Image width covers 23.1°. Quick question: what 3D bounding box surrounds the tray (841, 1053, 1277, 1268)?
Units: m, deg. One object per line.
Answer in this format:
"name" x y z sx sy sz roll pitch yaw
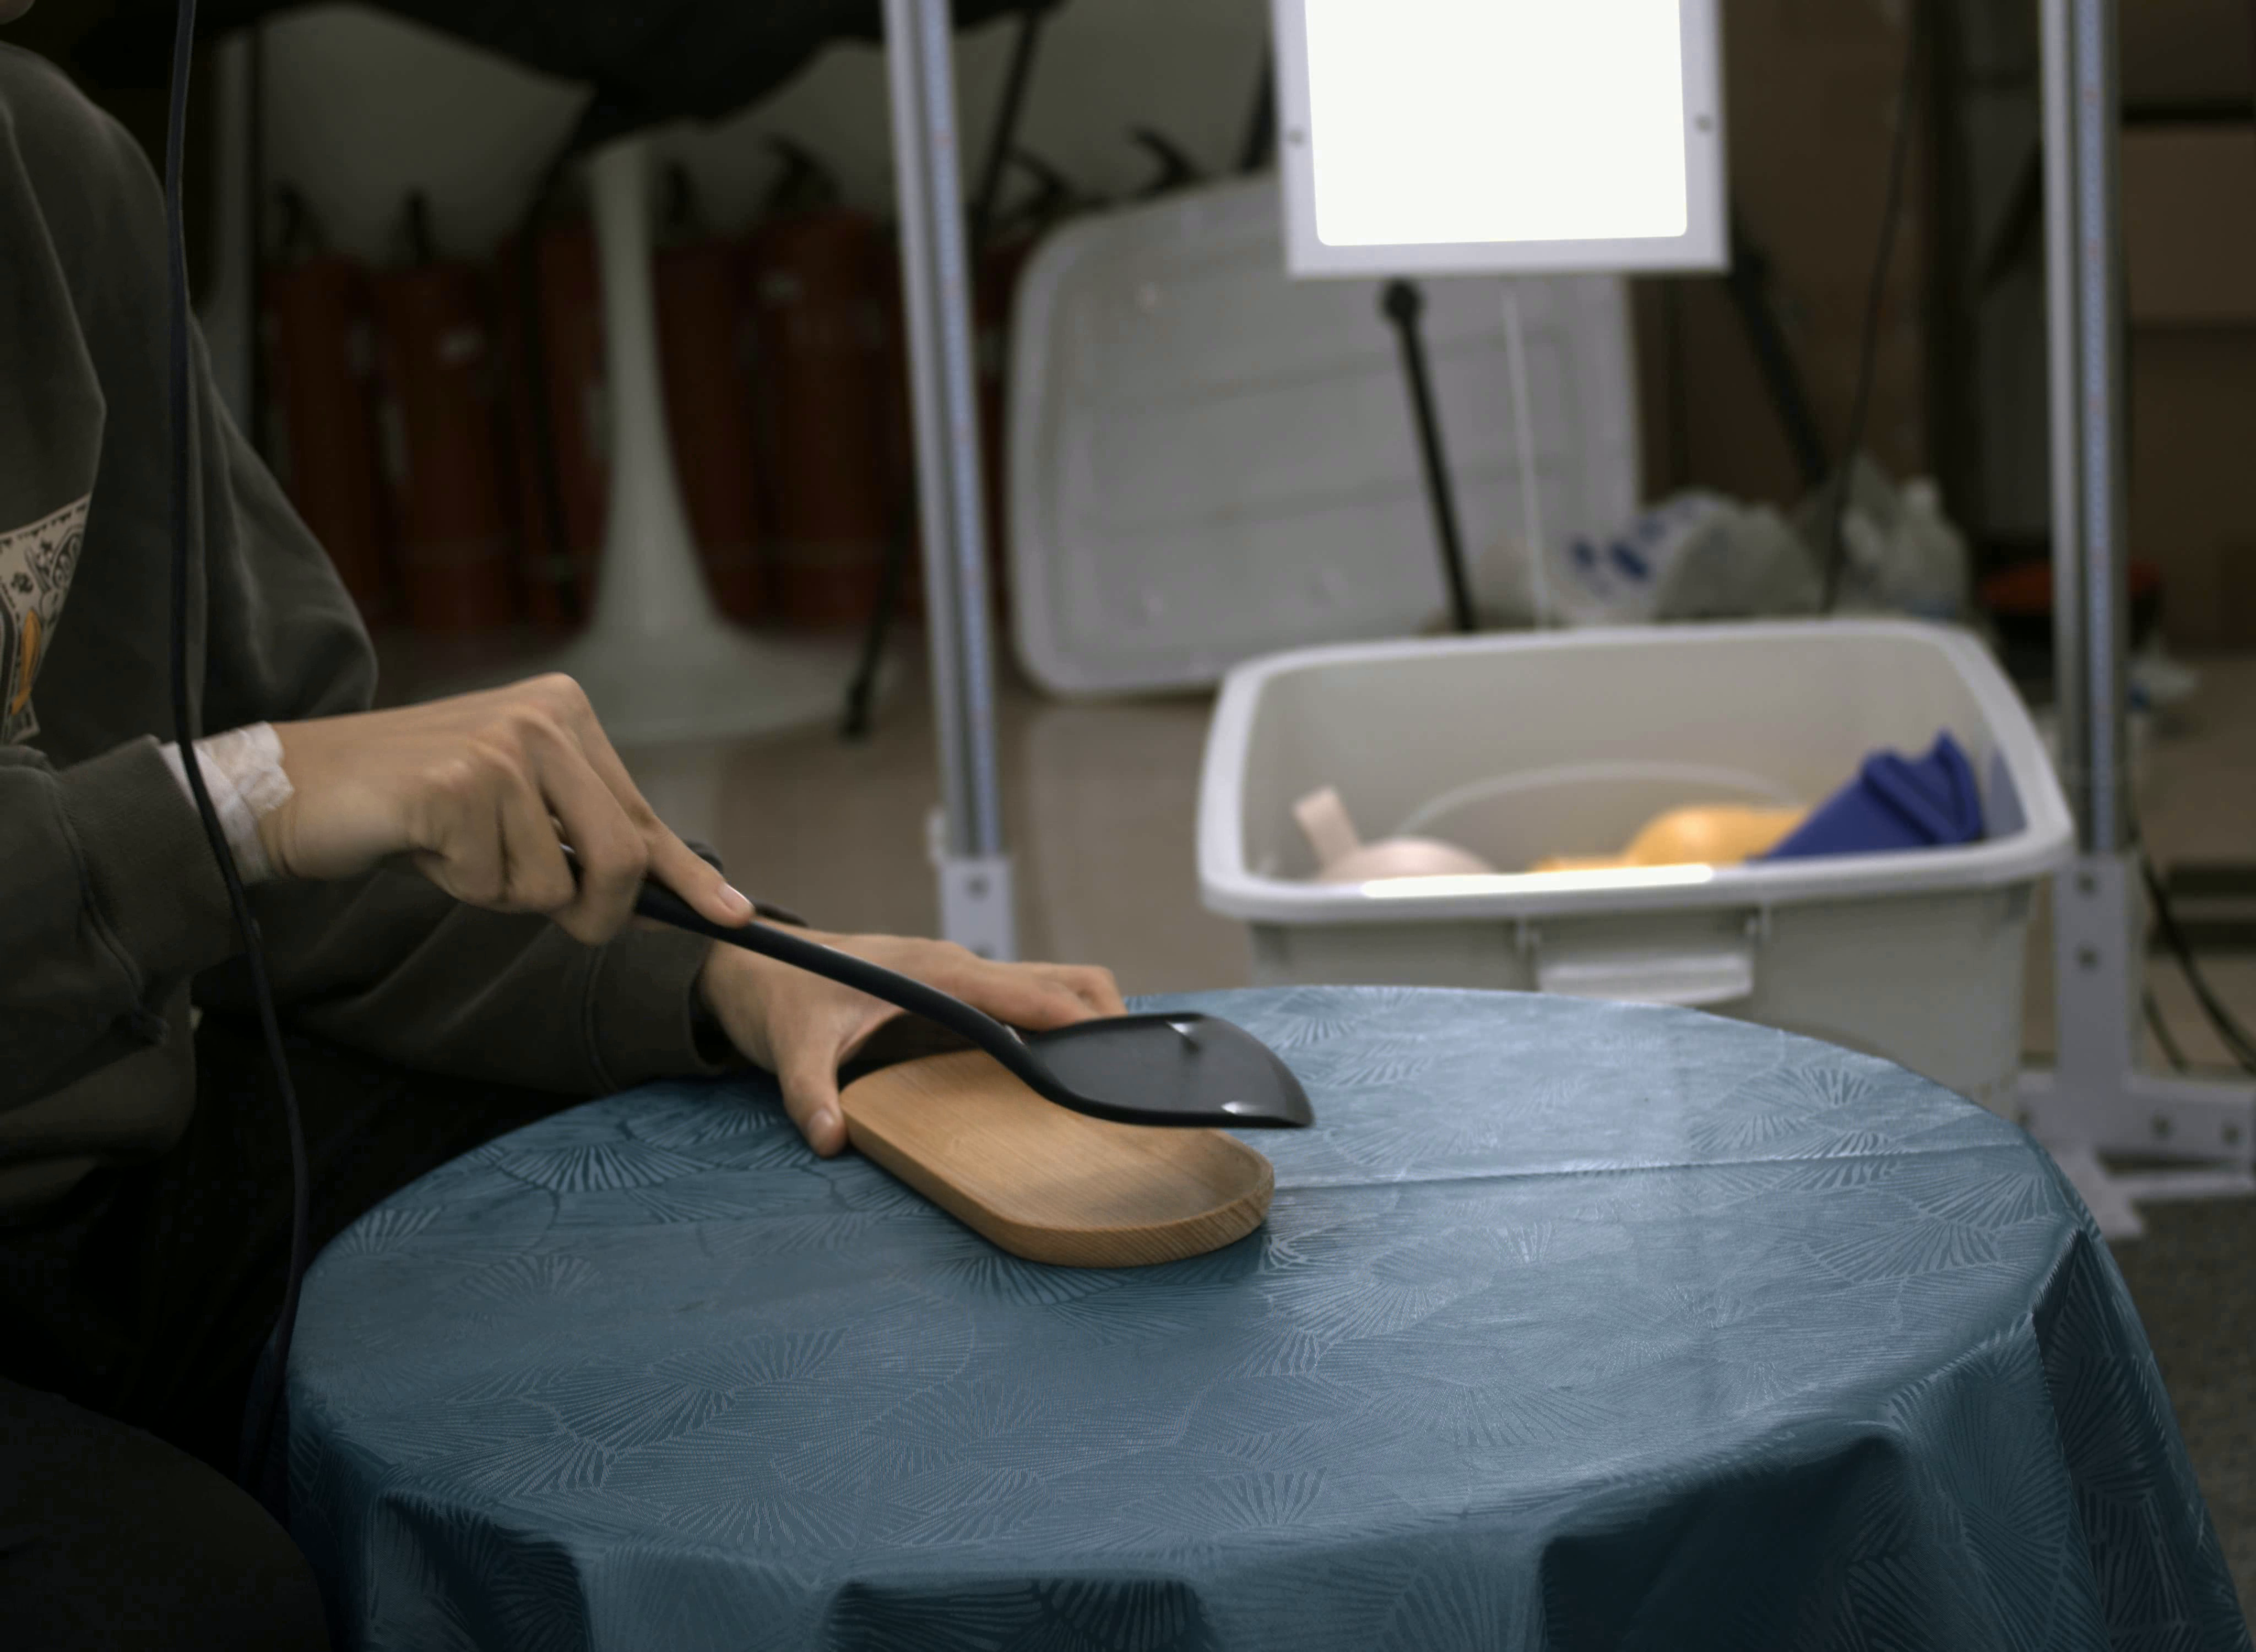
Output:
"tray" -0.026 0.115 1.919 0.100 0.020 0.234 -12 17 -21

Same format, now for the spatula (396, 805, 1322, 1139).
"spatula" -0.088 0.044 1.816 0.321 0.040 0.100 24 10 -18
